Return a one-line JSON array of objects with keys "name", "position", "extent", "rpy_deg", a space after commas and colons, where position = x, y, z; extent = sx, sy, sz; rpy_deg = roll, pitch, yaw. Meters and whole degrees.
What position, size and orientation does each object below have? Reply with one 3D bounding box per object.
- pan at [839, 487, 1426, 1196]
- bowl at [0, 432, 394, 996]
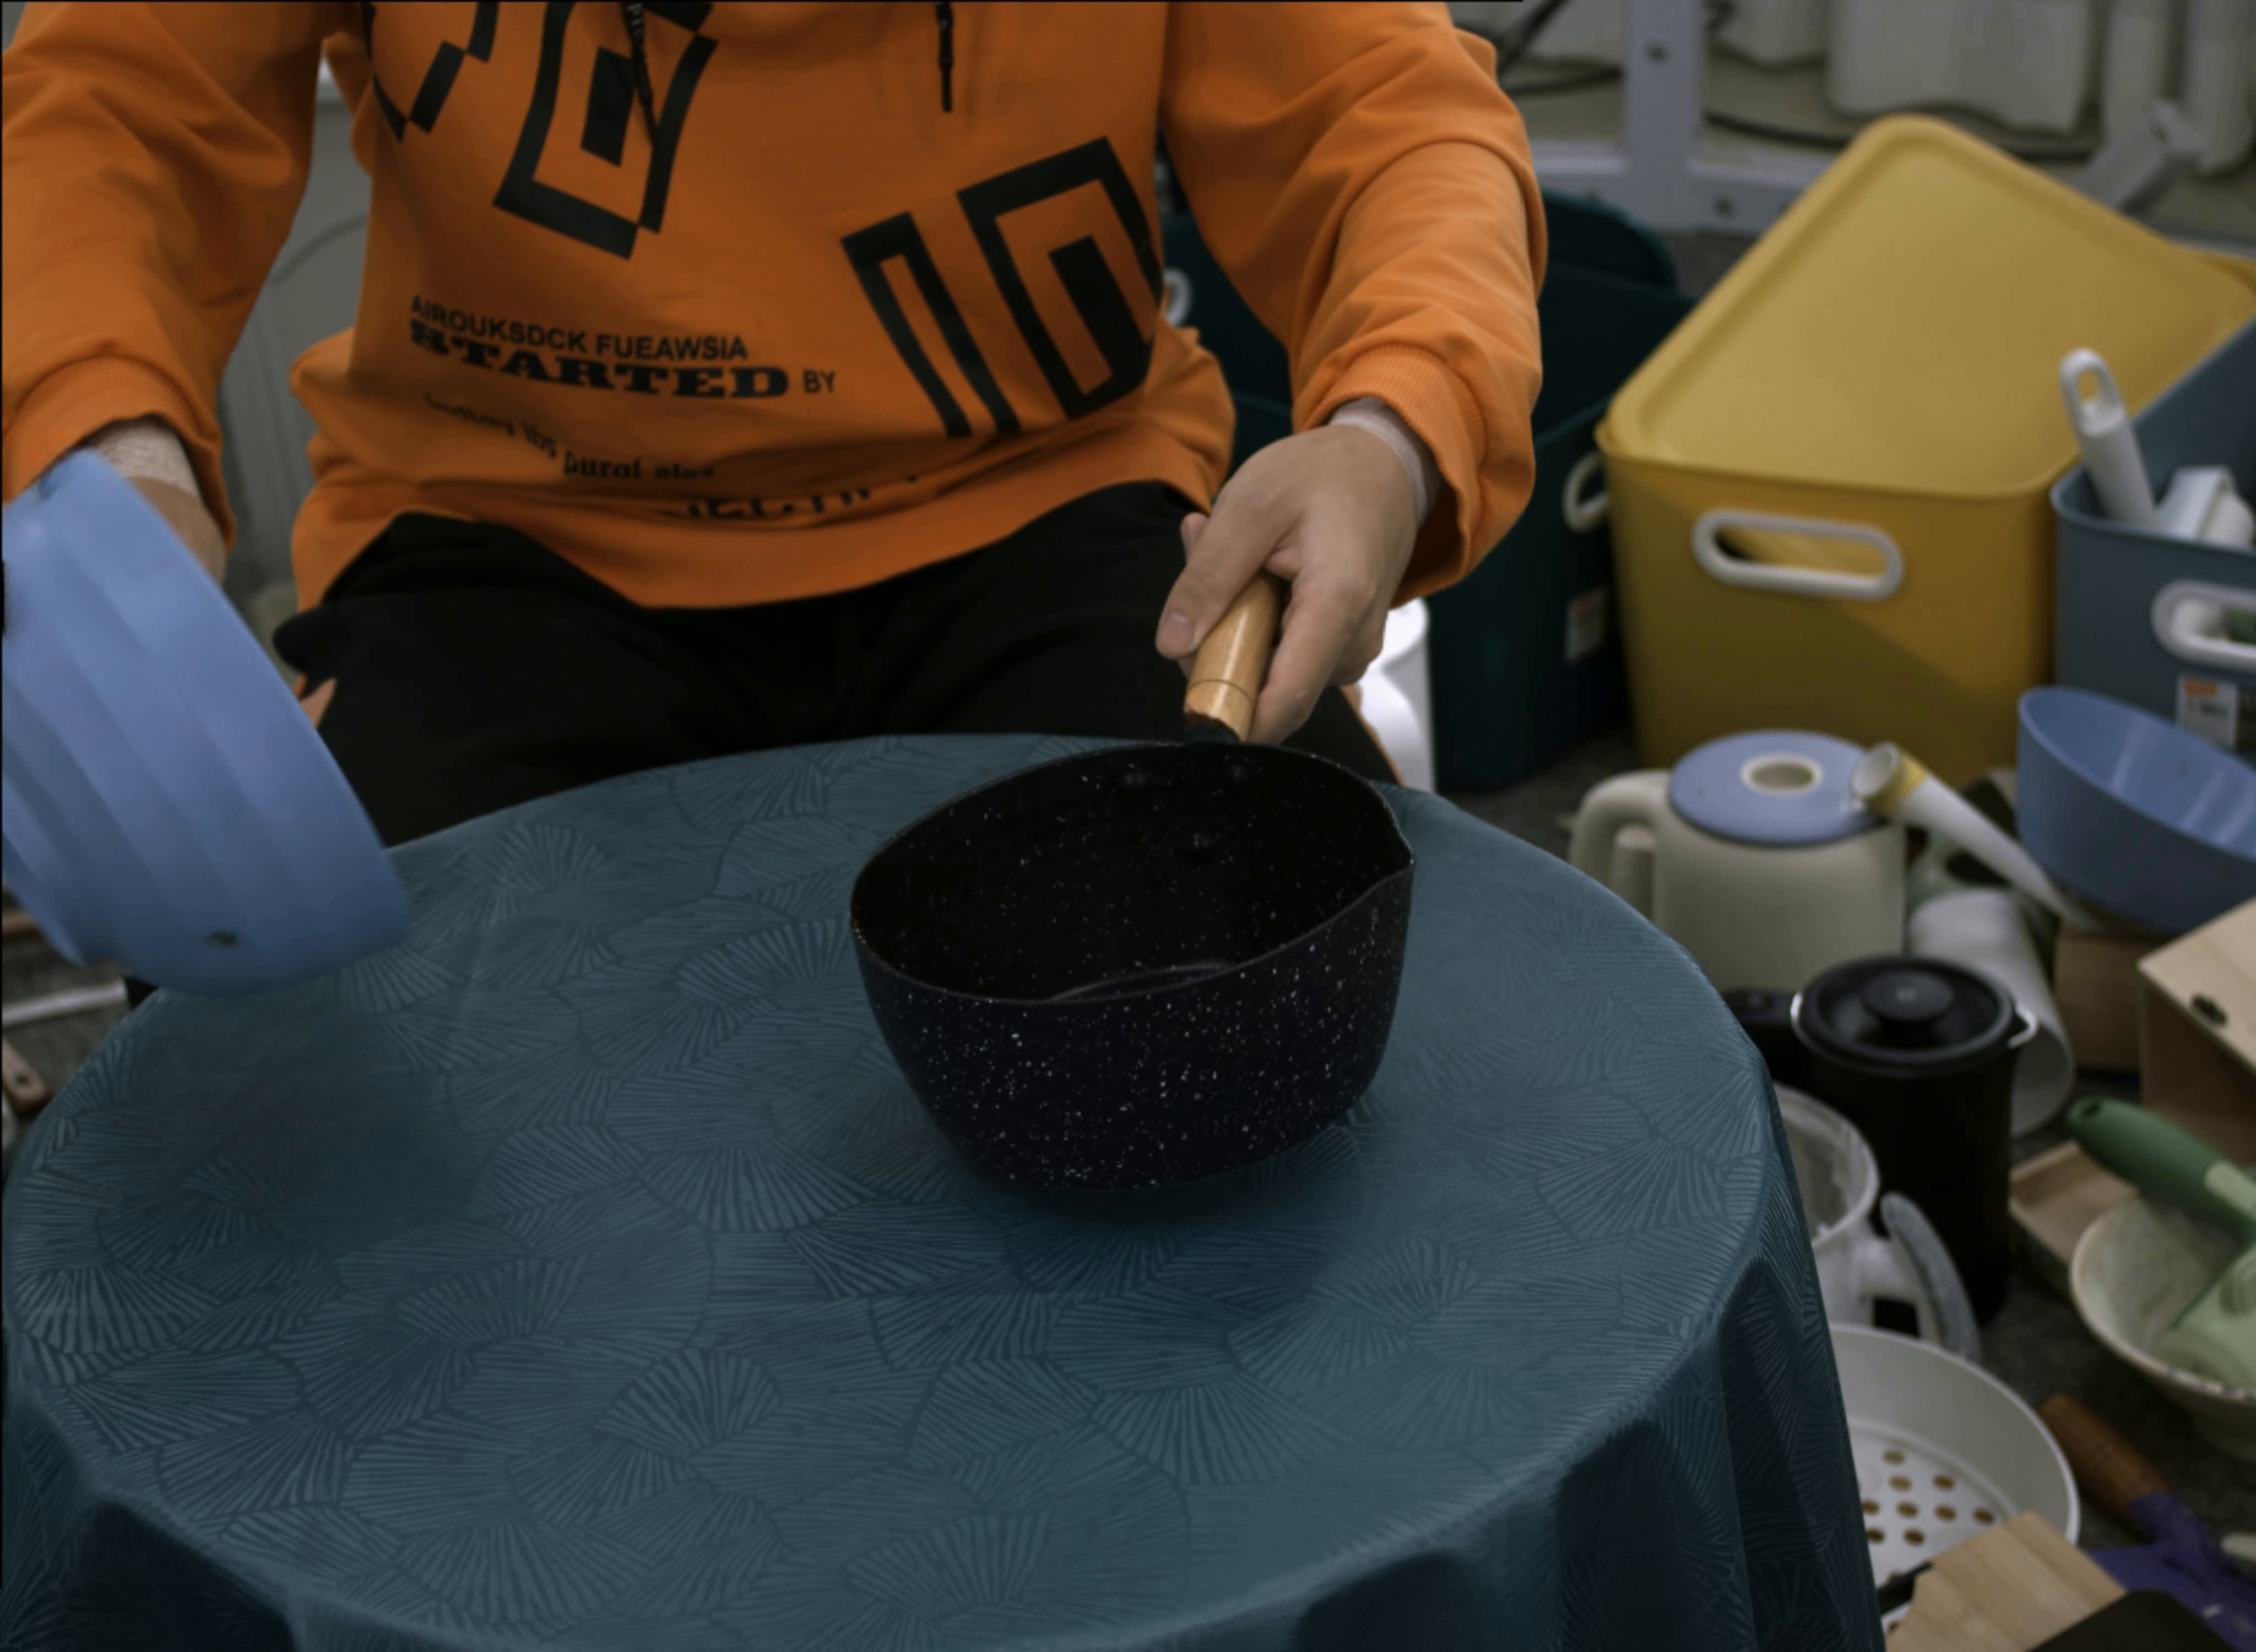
[{"name": "pan", "position": [0.021, 0.002, 1.946], "extent": [0.206, 0.107, 0.349], "rpy_deg": [-4, 27, 16]}, {"name": "bowl", "position": [-0.332, -0.019, 1.834], "extent": [0.096, 0.194, 0.197], "rpy_deg": [-32, 36, -18]}]
